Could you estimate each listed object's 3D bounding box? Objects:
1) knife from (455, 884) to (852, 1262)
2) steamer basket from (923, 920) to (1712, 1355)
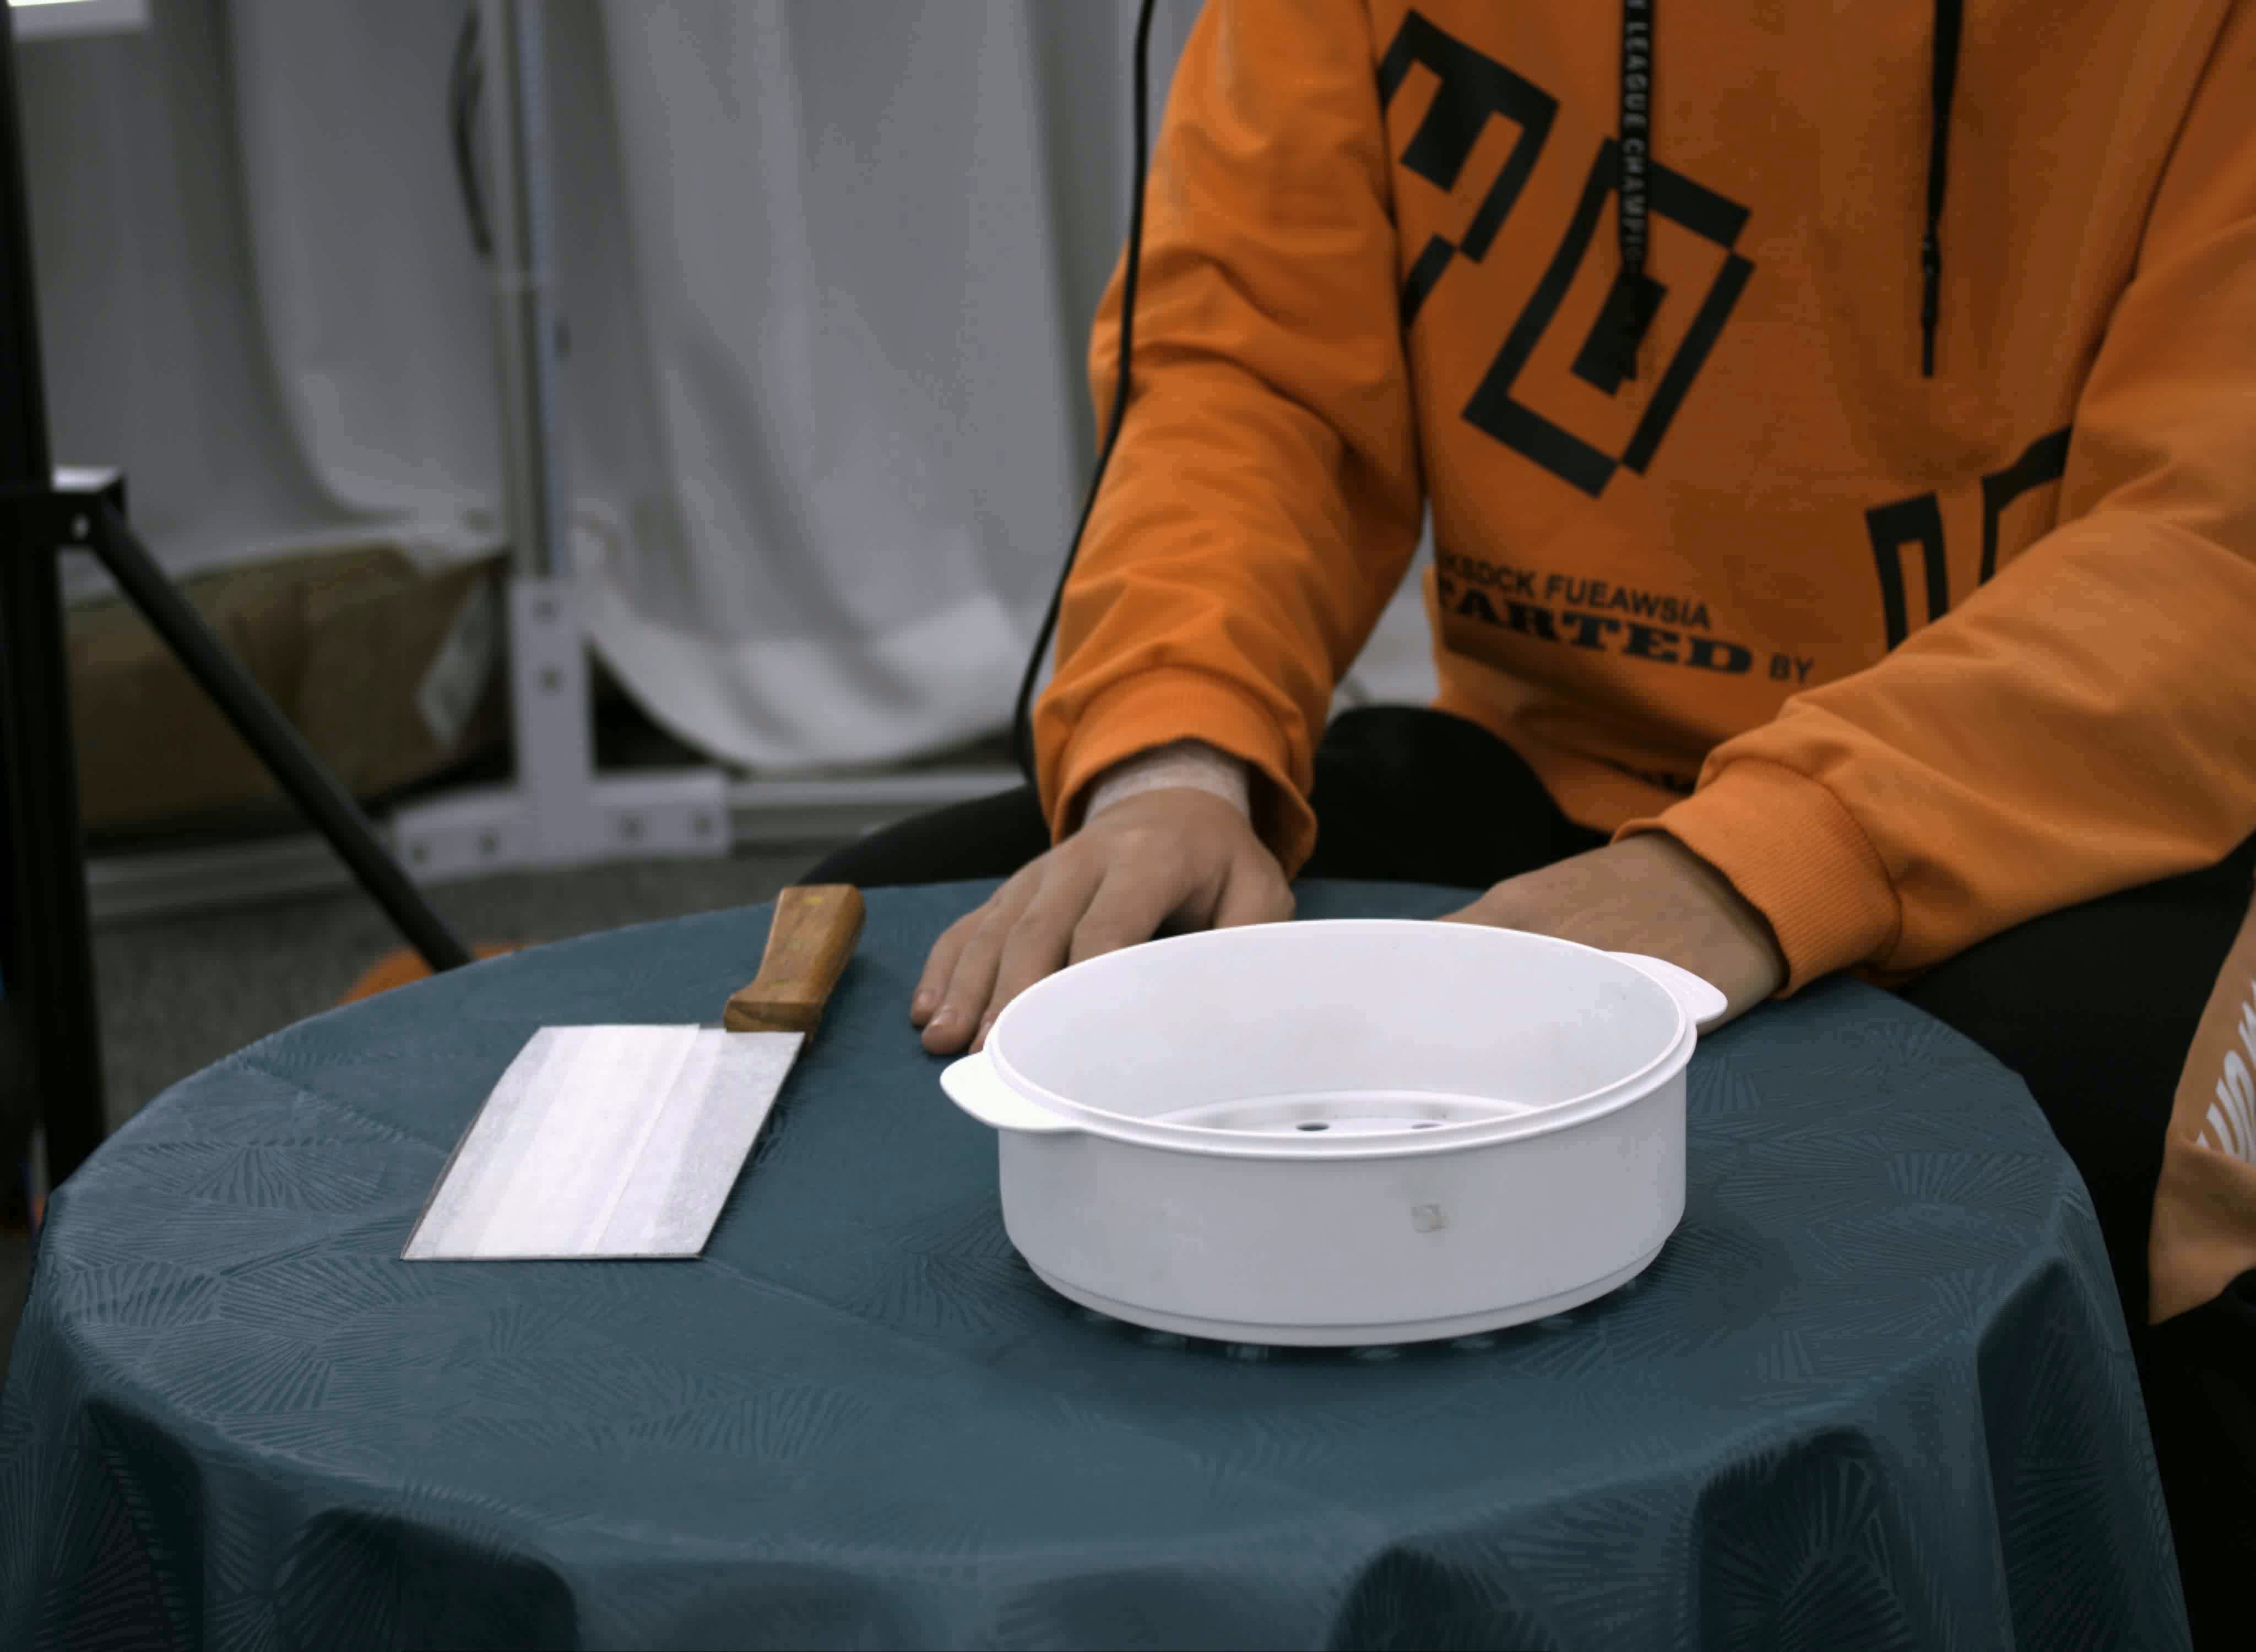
[{"bbox_3d":[-0.147,0.076,1.669,0.093,0.021,0.305,-2,18,8],"label":"knife"},{"bbox_3d":[0.056,0.088,1.495,0.226,0.069,0.205,-10,17,-19],"label":"steamer basket"}]
